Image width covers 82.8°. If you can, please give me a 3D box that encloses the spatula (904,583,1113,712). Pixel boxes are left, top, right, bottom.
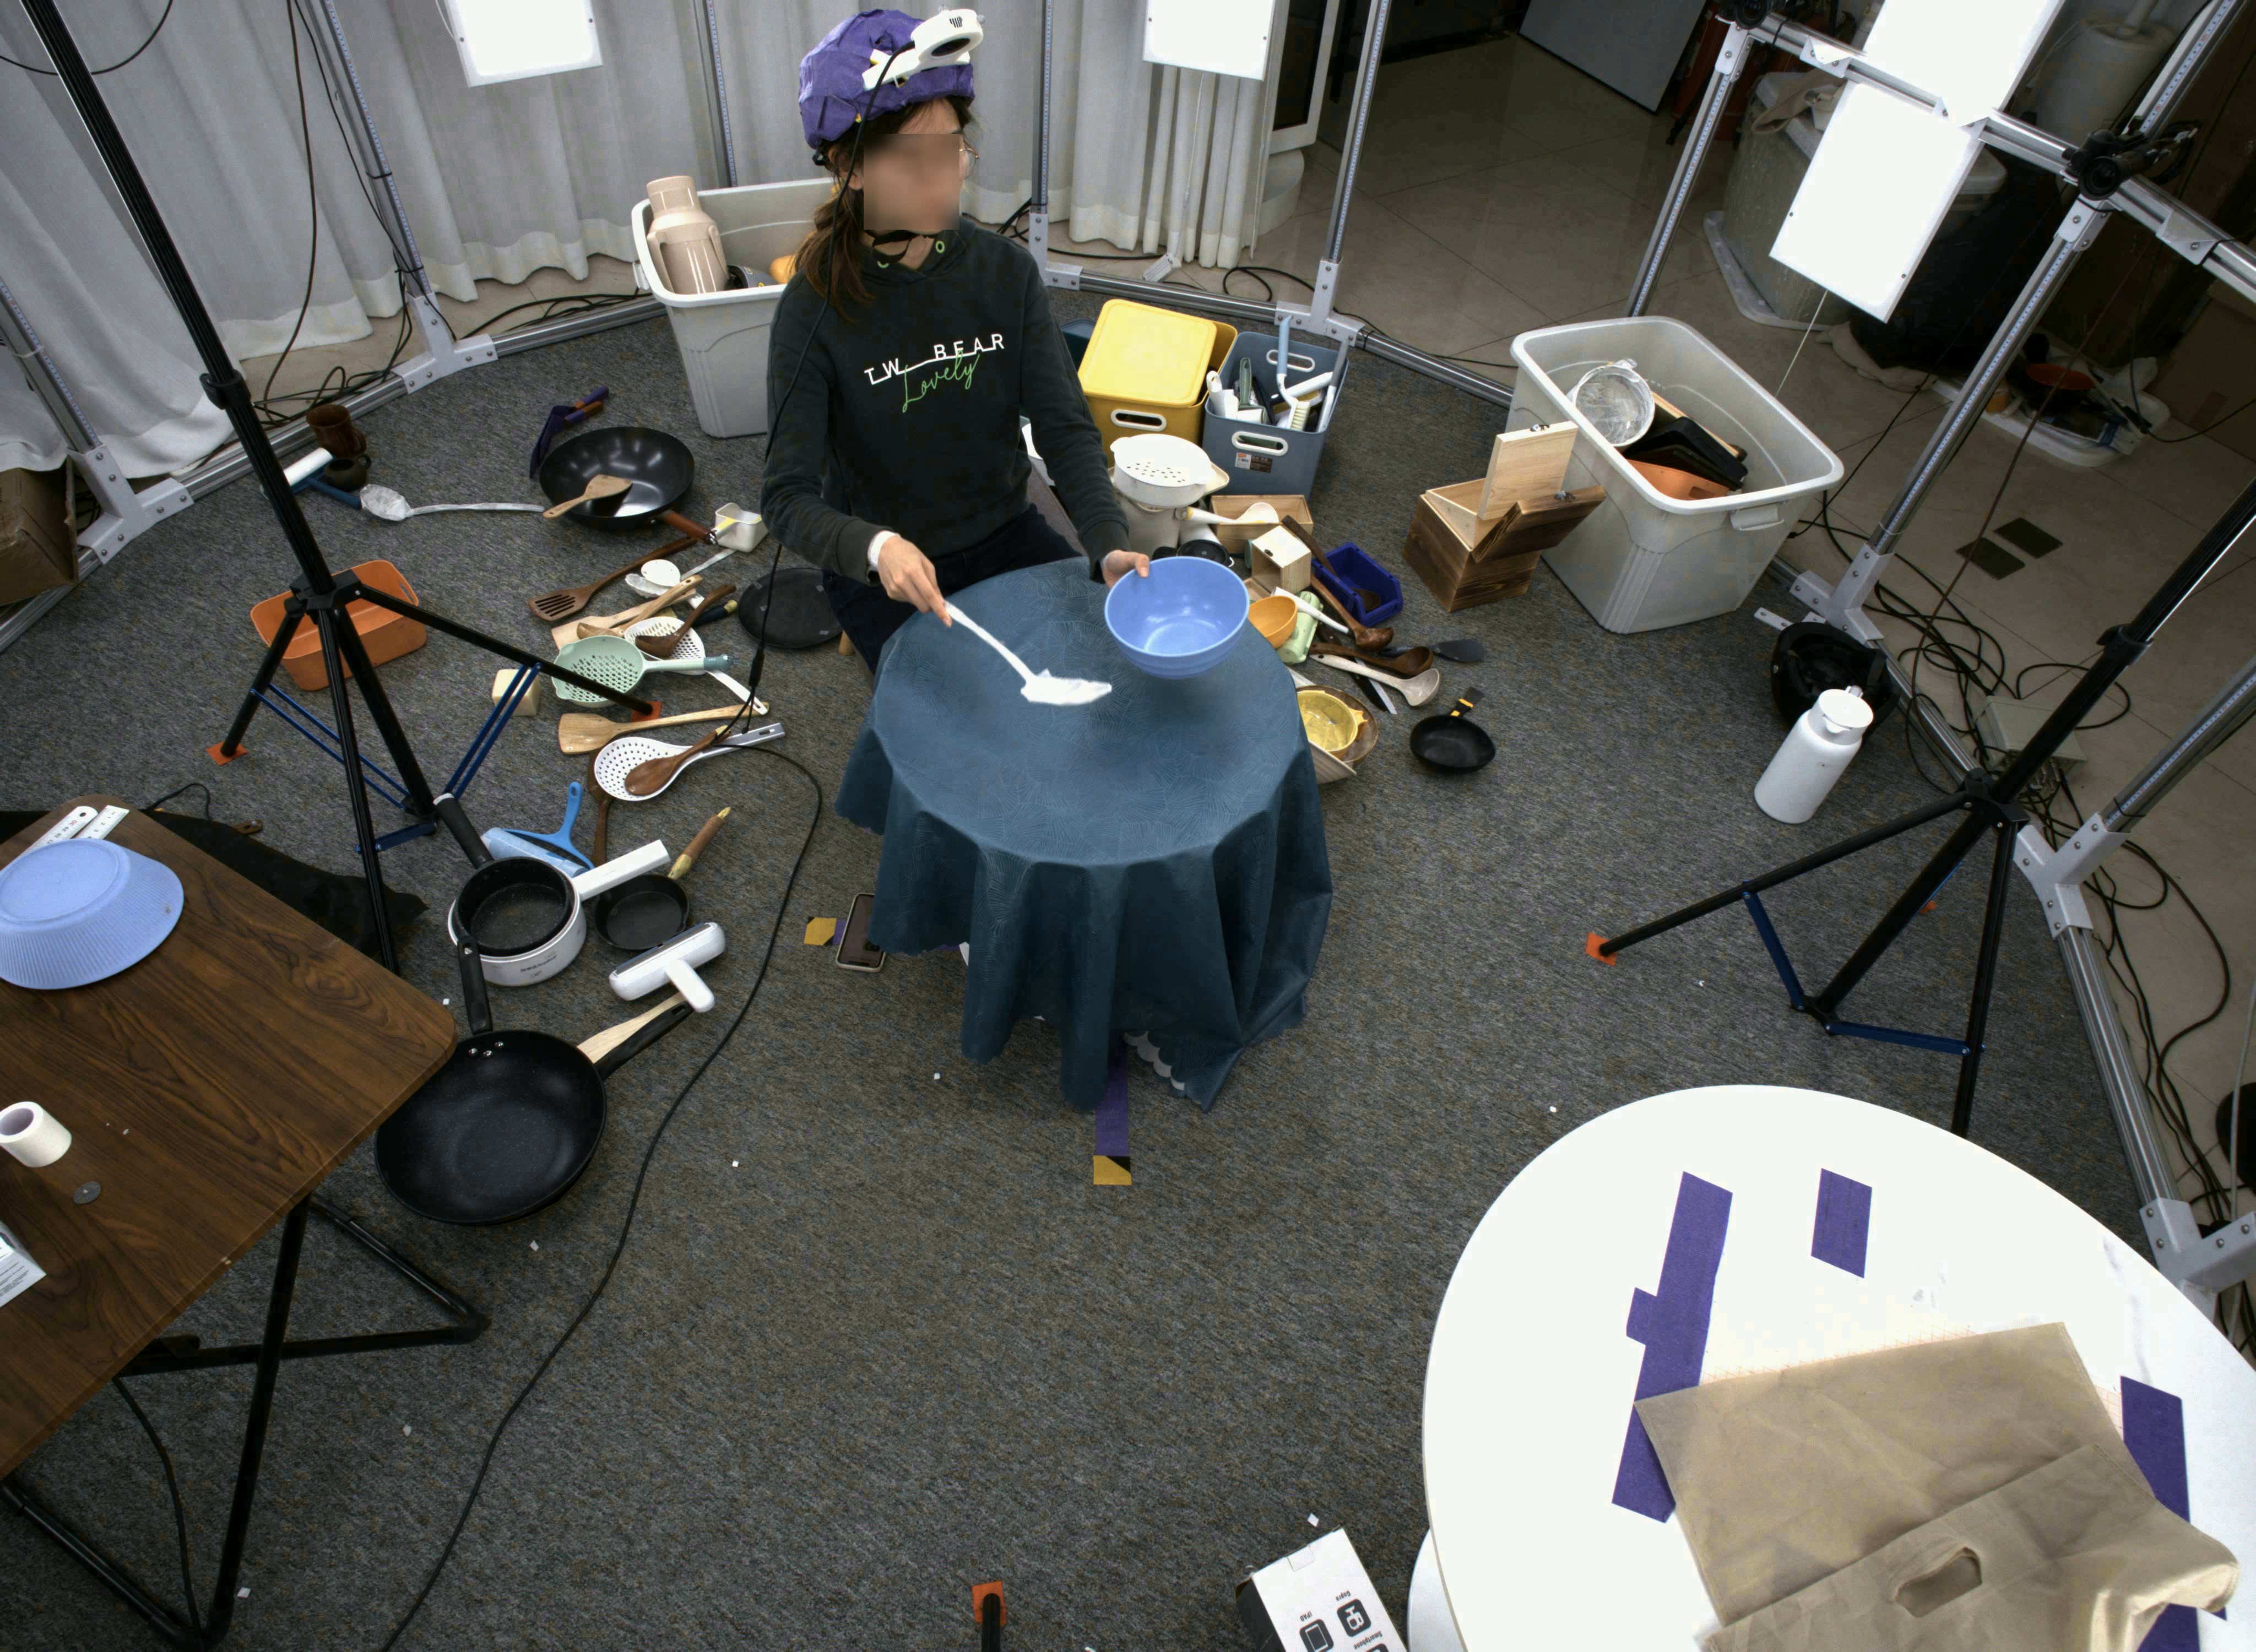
[{"bbox_3d":[-0.172,-0.237,1.652,0.370,0.044,0.099,39,43,26],"label":"spatula"}]

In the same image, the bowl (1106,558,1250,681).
[{"bbox_3d":[0.072,-0.270,1.780,0.196,0.093,0.201,-3,51,4],"label":"bowl"}]
